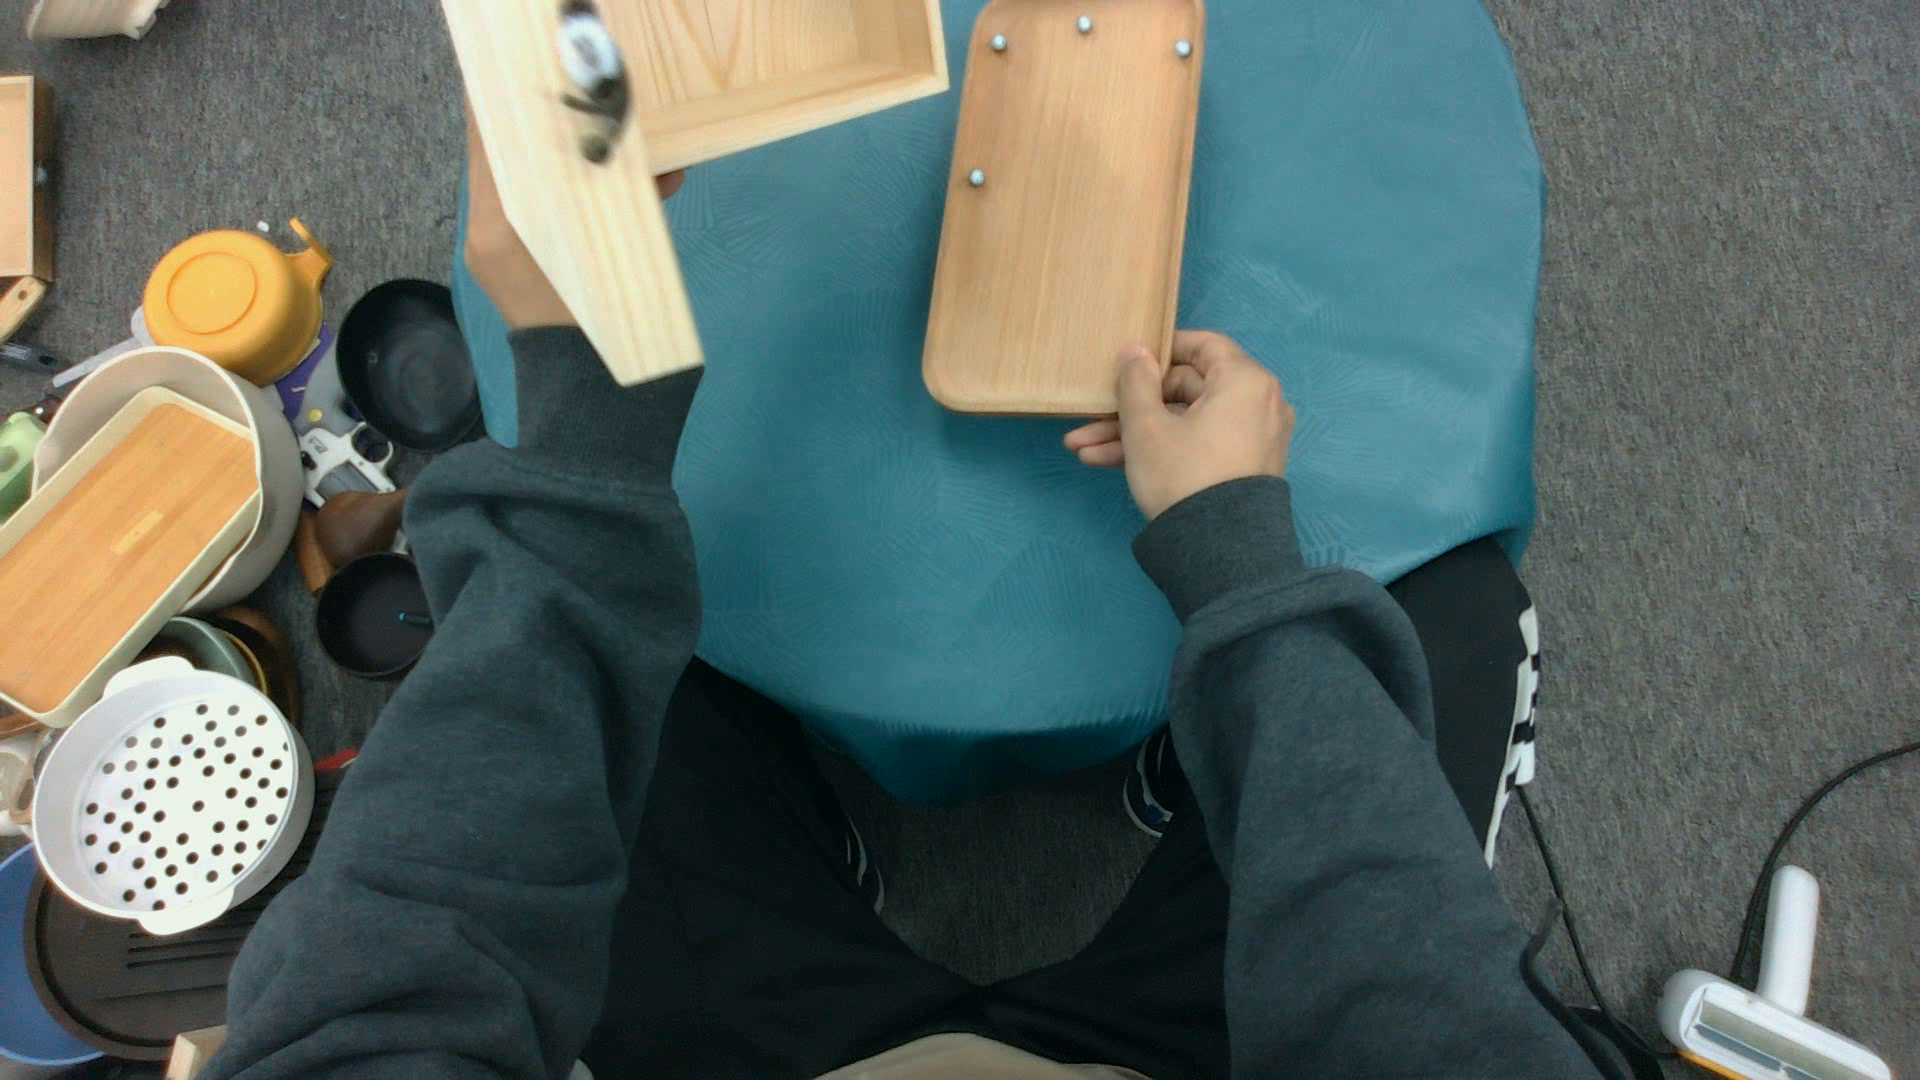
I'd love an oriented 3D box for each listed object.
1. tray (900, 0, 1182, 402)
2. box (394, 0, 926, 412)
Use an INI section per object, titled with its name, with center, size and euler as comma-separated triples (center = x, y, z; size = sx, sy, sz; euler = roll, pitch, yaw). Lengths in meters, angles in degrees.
[tray]
center = 0.044, -0.187, 0.709
size = 0.130, 0.023, 0.251
euler = 2, 73, 20
[box]
center = -0.097, -0.215, 0.494
size = 0.266, 0.181, 0.253
euler = -26, 41, -25
